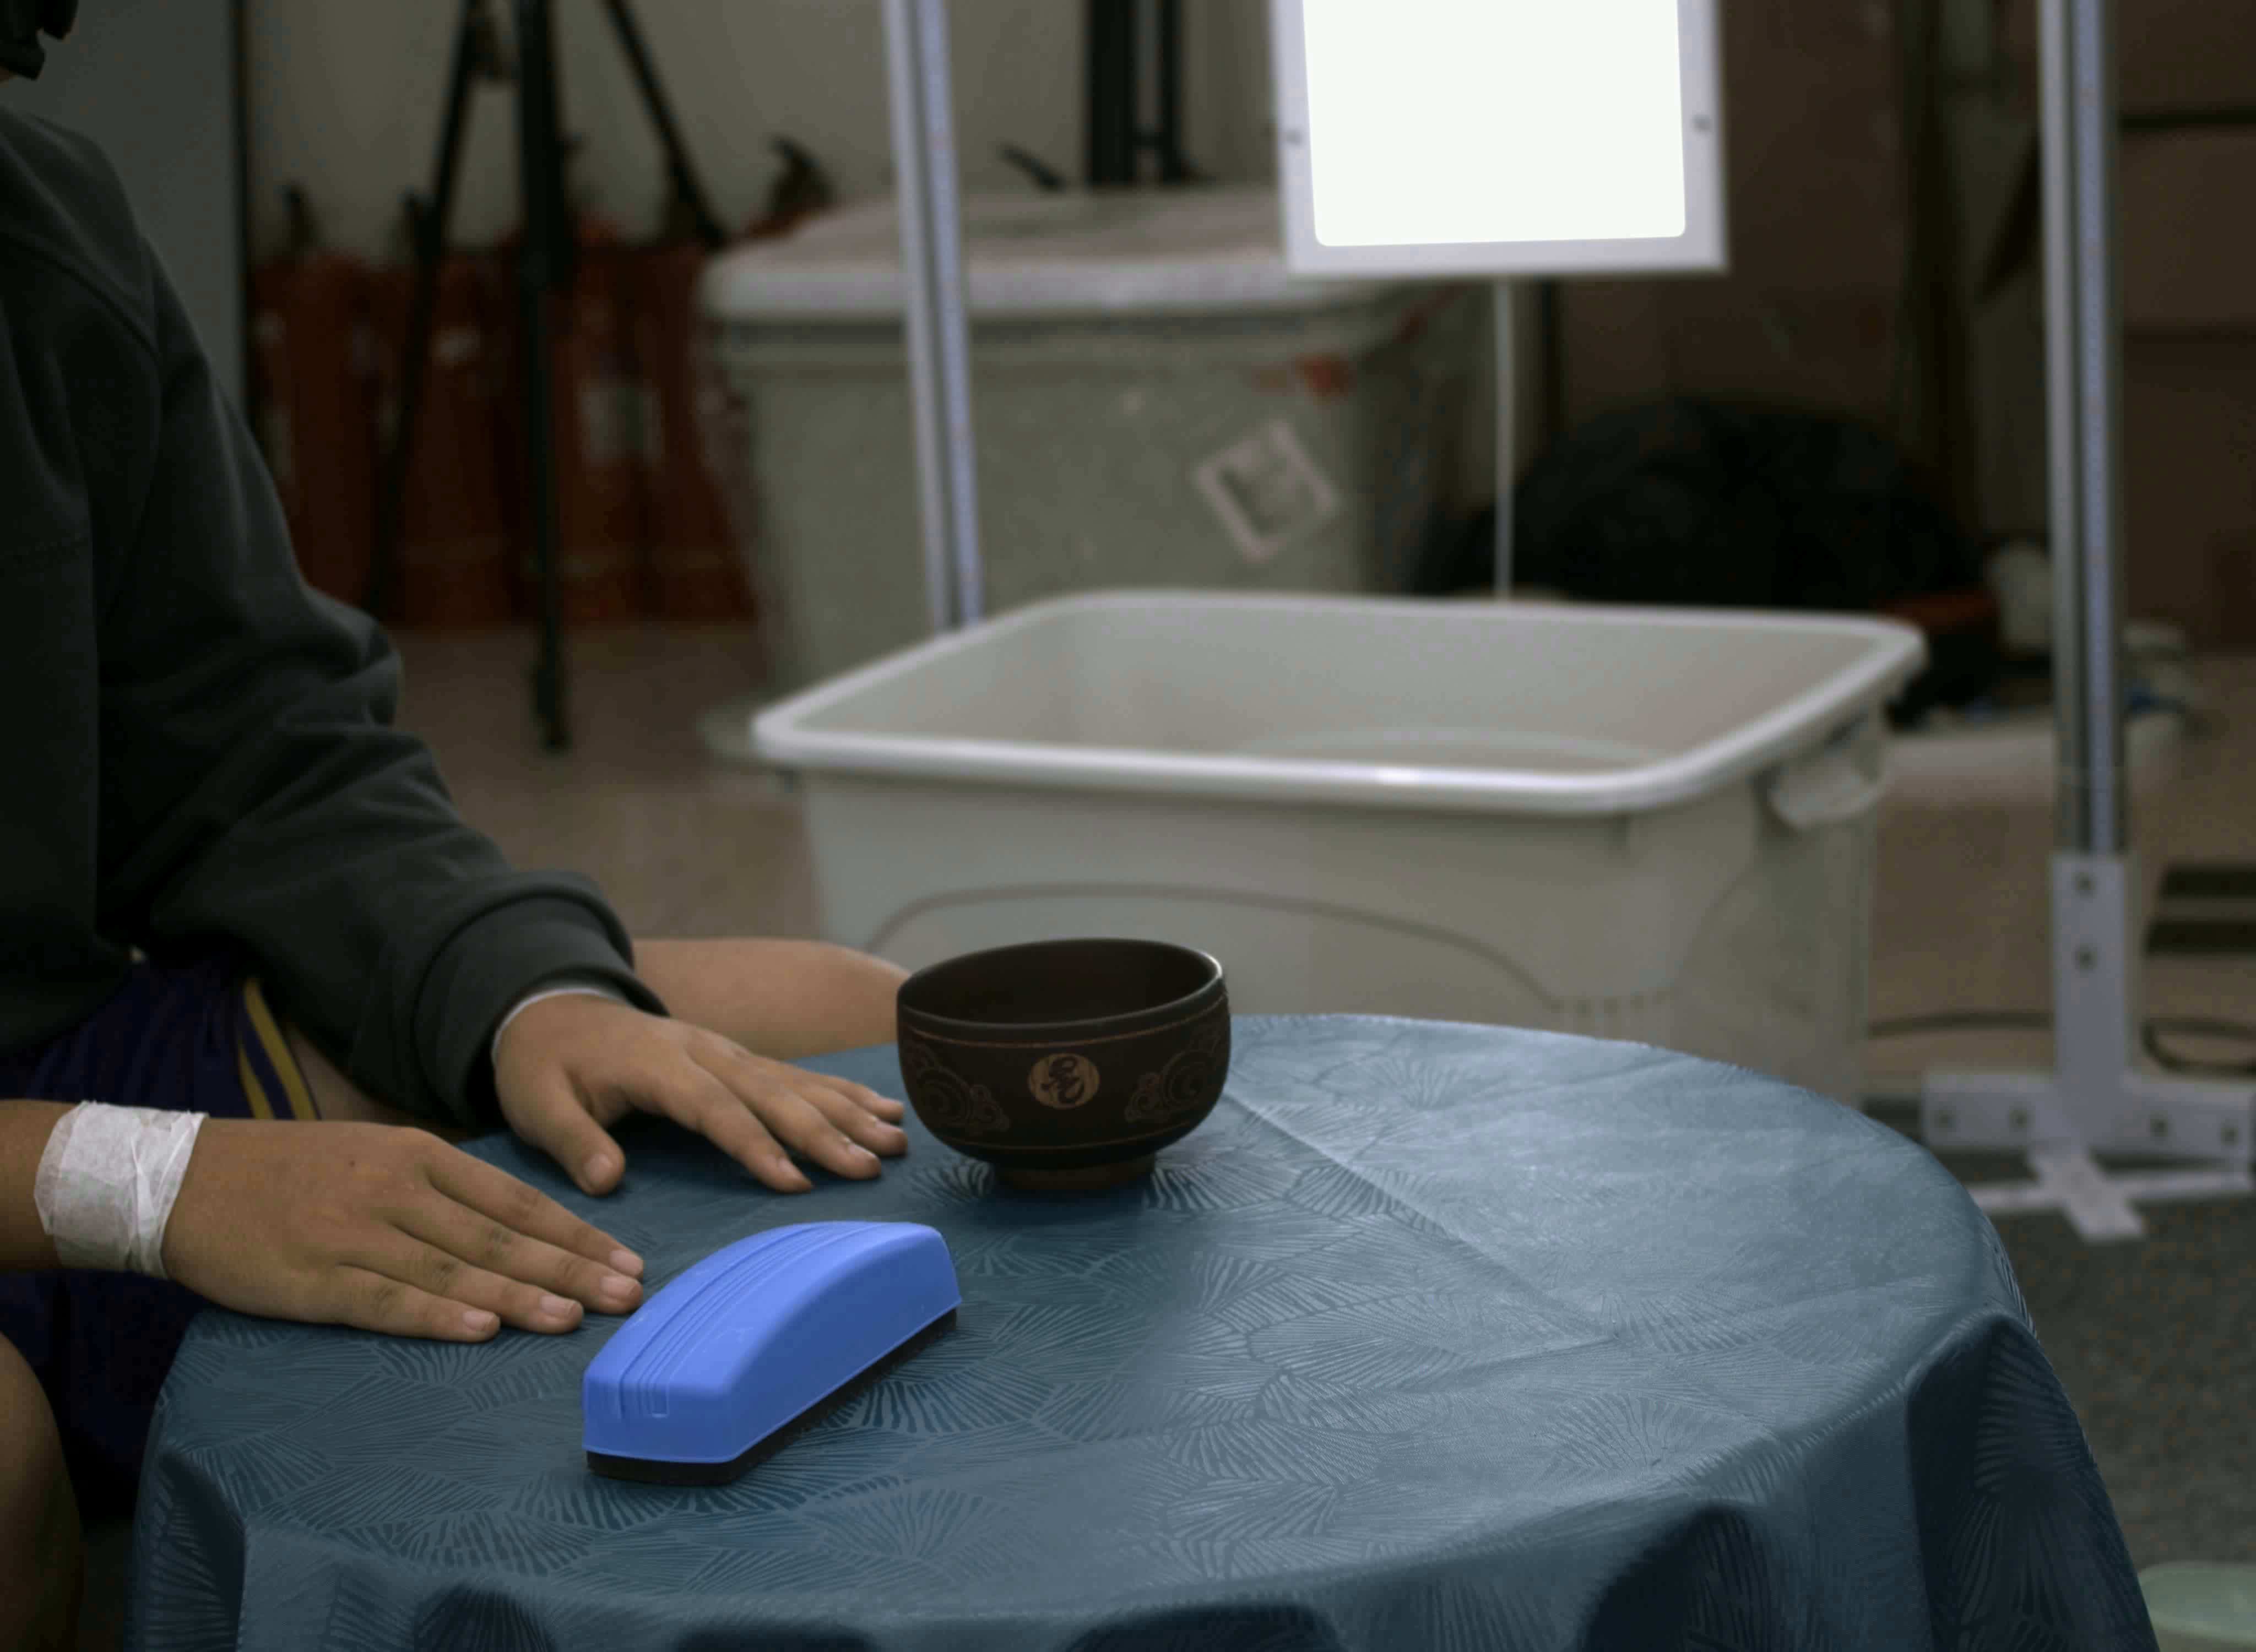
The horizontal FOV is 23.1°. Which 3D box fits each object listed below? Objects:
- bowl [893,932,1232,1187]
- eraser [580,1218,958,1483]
[{"bbox_3d":[-0.021,0.085,1.921,0.118,0.070,0.118,-6,14,0],"label":"bowl"},{"bbox_3d":[-0.110,0.156,1.719,0.055,0.048,0.159,4,16,26],"label":"eraser"}]
